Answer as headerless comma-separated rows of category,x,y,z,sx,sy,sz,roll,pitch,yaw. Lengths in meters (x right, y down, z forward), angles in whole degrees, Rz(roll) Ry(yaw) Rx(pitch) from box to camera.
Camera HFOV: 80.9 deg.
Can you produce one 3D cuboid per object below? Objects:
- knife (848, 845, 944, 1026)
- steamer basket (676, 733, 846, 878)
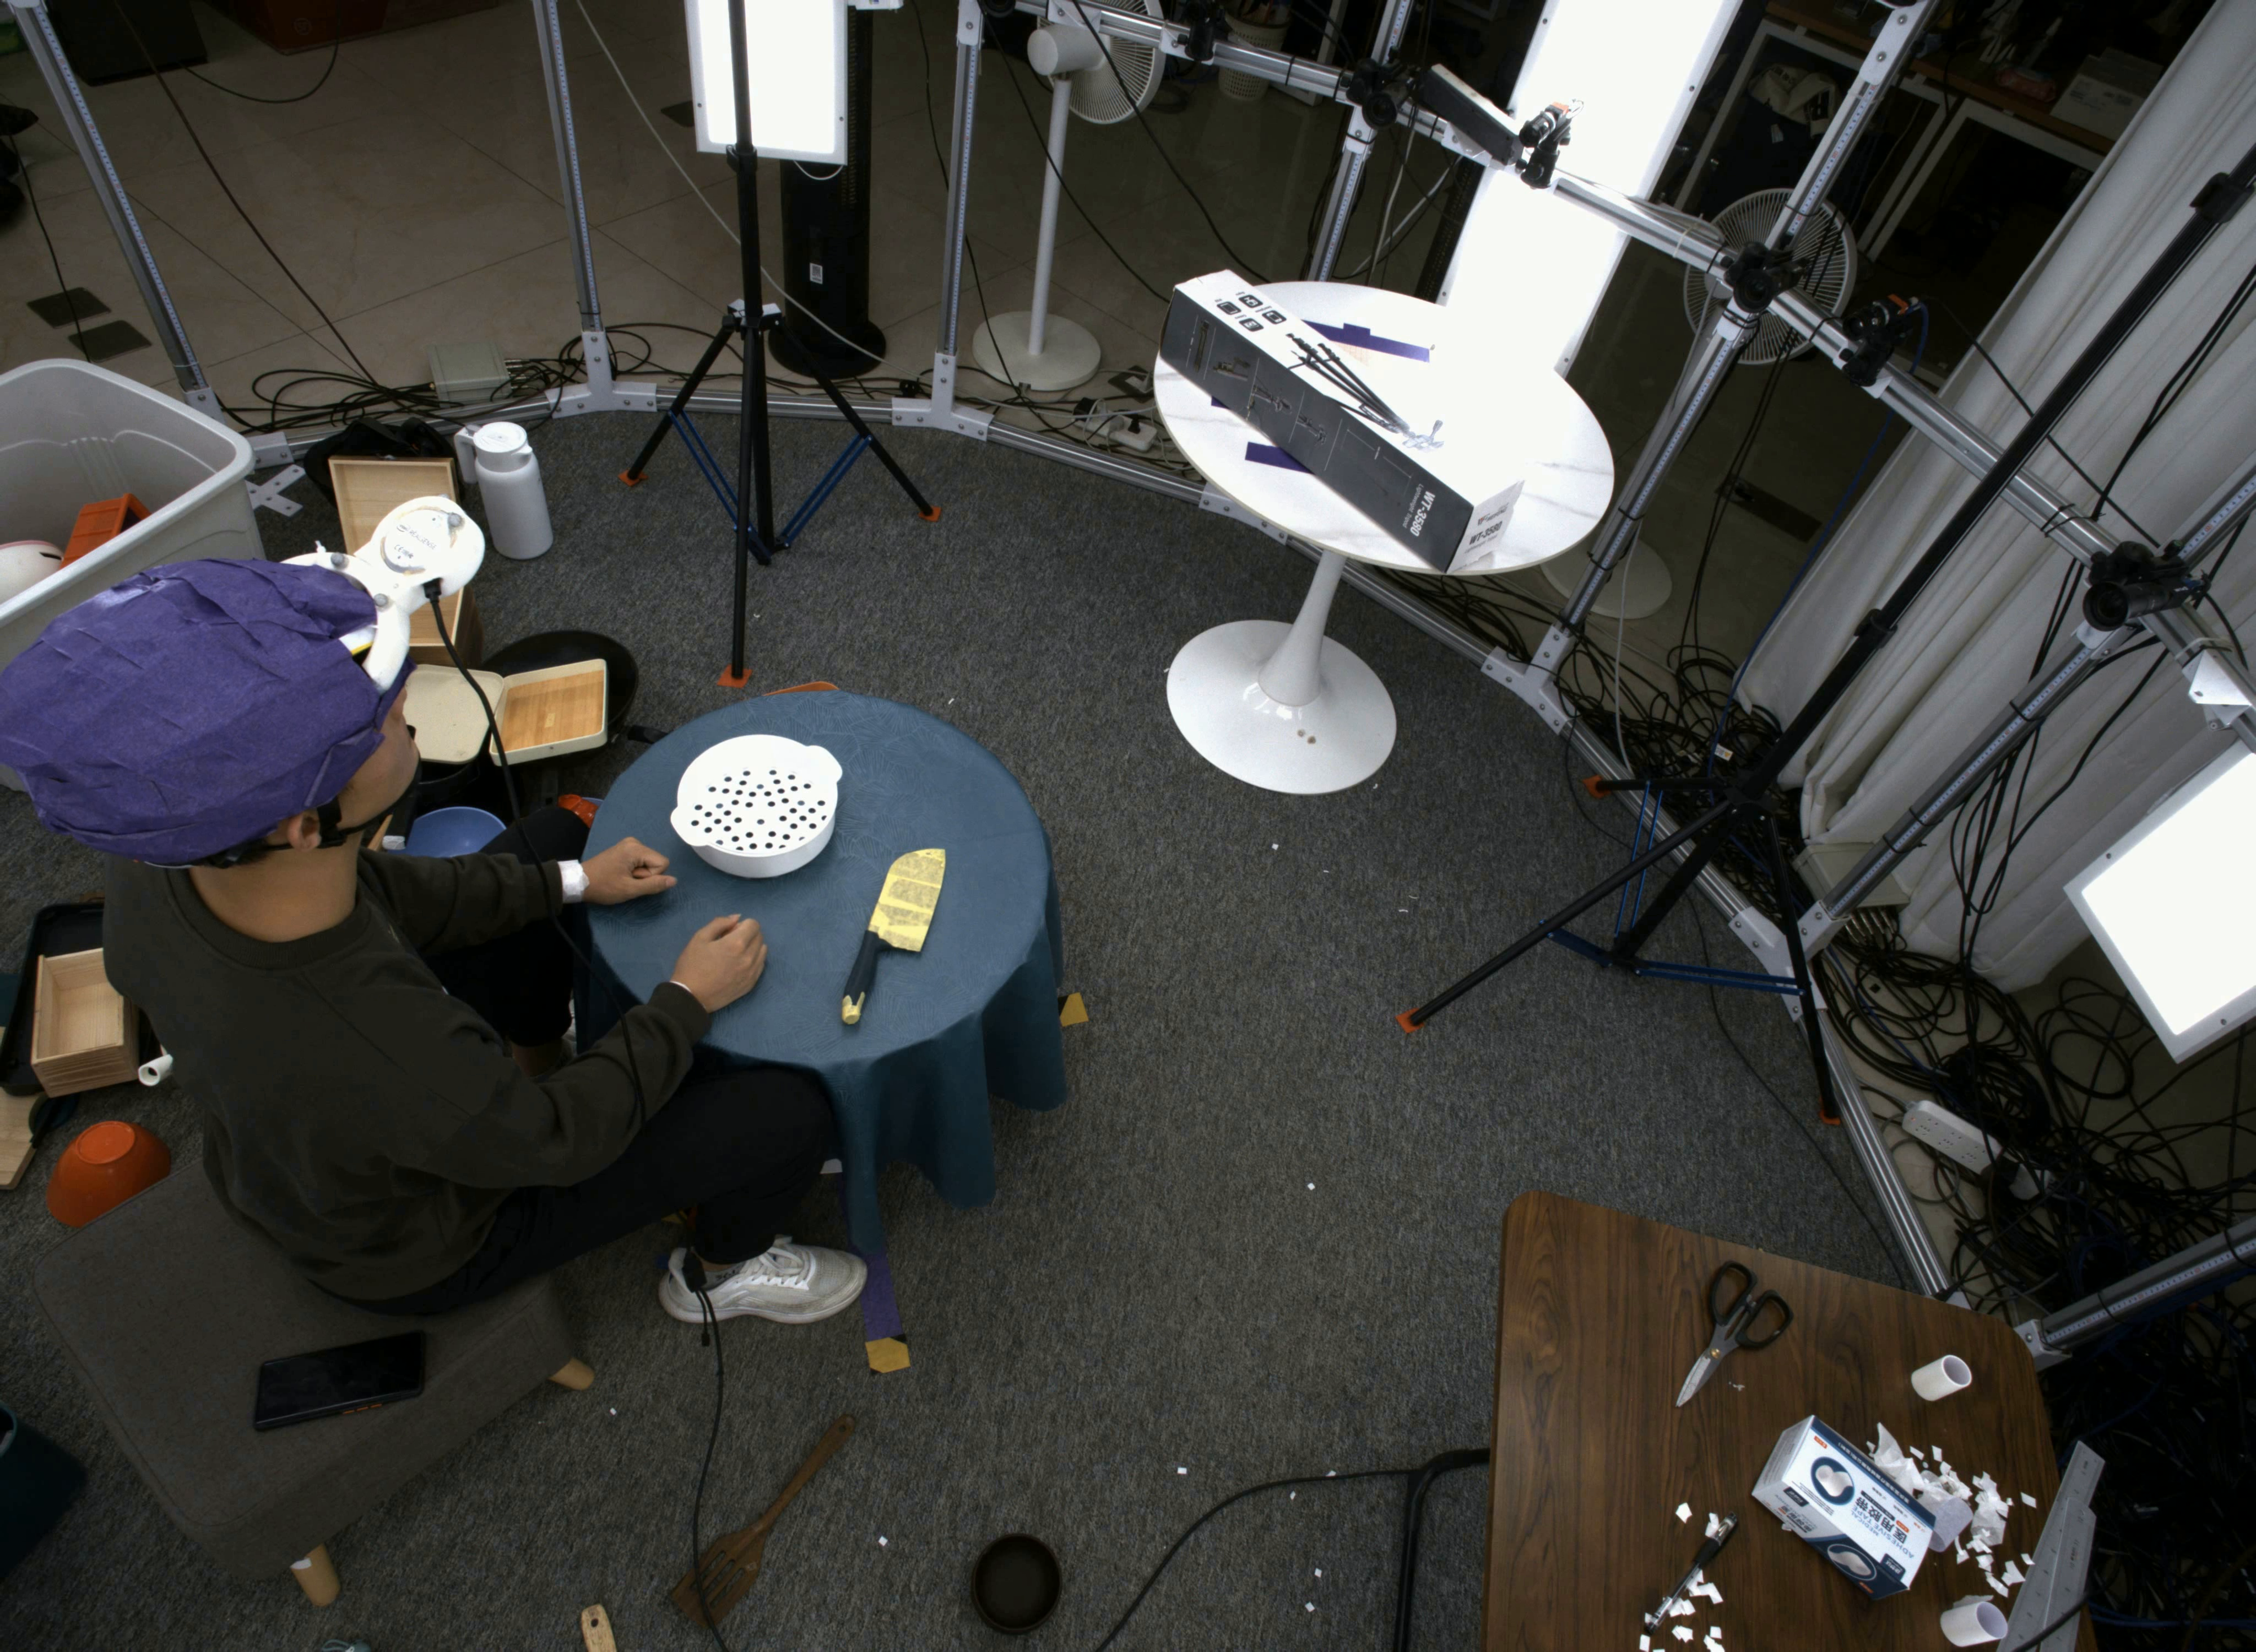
knife,-0.294,0.132,1.660,0.080,0.028,0.286,15,51,0
steamer basket,-0.477,-0.026,1.698,0.231,0.071,0.197,-31,65,-29
